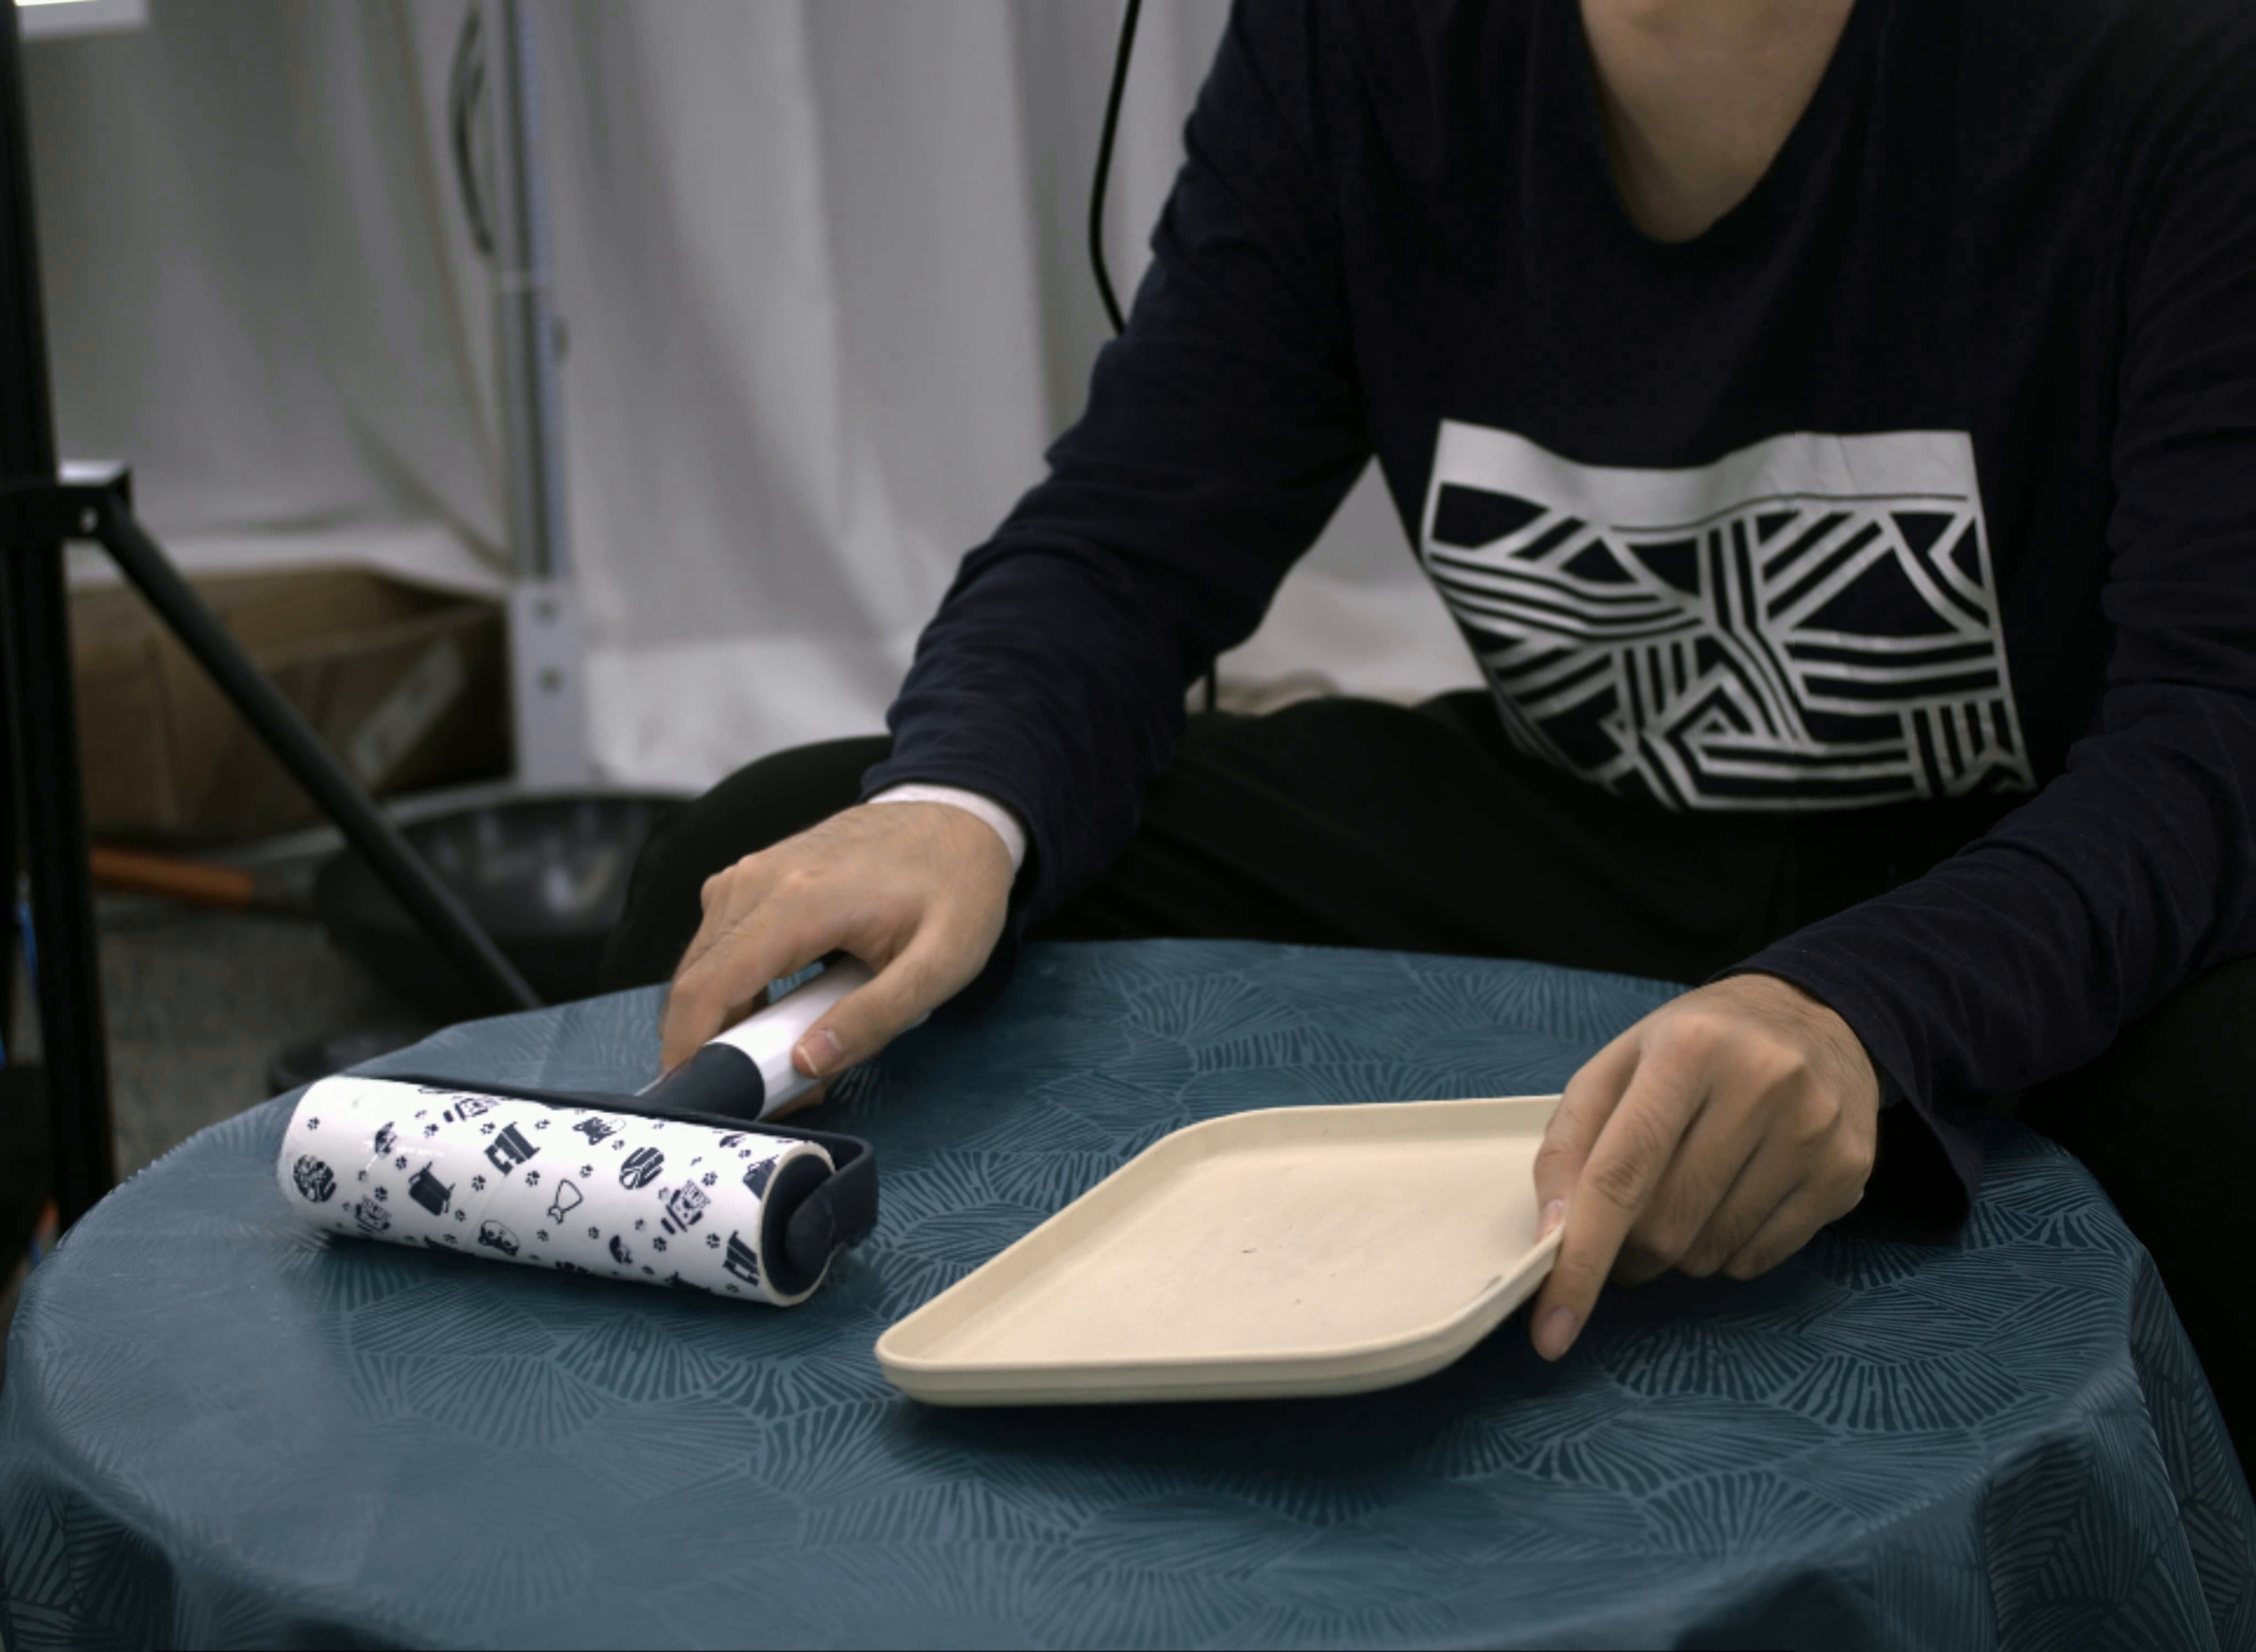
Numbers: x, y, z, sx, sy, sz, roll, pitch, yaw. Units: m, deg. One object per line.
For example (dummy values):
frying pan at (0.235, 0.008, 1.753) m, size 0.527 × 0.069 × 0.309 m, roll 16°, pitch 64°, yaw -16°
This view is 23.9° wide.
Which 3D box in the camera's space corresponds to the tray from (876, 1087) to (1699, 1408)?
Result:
tray at (0.049, 0.115, 1.449) m, size 0.174 × 0.017 × 0.236 m, roll -5°, pitch 11°, yaw 27°

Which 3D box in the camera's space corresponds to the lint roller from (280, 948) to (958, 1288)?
lint roller at (-0.118, 0.073, 1.604) m, size 0.179 × 0.050 × 0.243 m, roll 5°, pitch 18°, yaw 27°
